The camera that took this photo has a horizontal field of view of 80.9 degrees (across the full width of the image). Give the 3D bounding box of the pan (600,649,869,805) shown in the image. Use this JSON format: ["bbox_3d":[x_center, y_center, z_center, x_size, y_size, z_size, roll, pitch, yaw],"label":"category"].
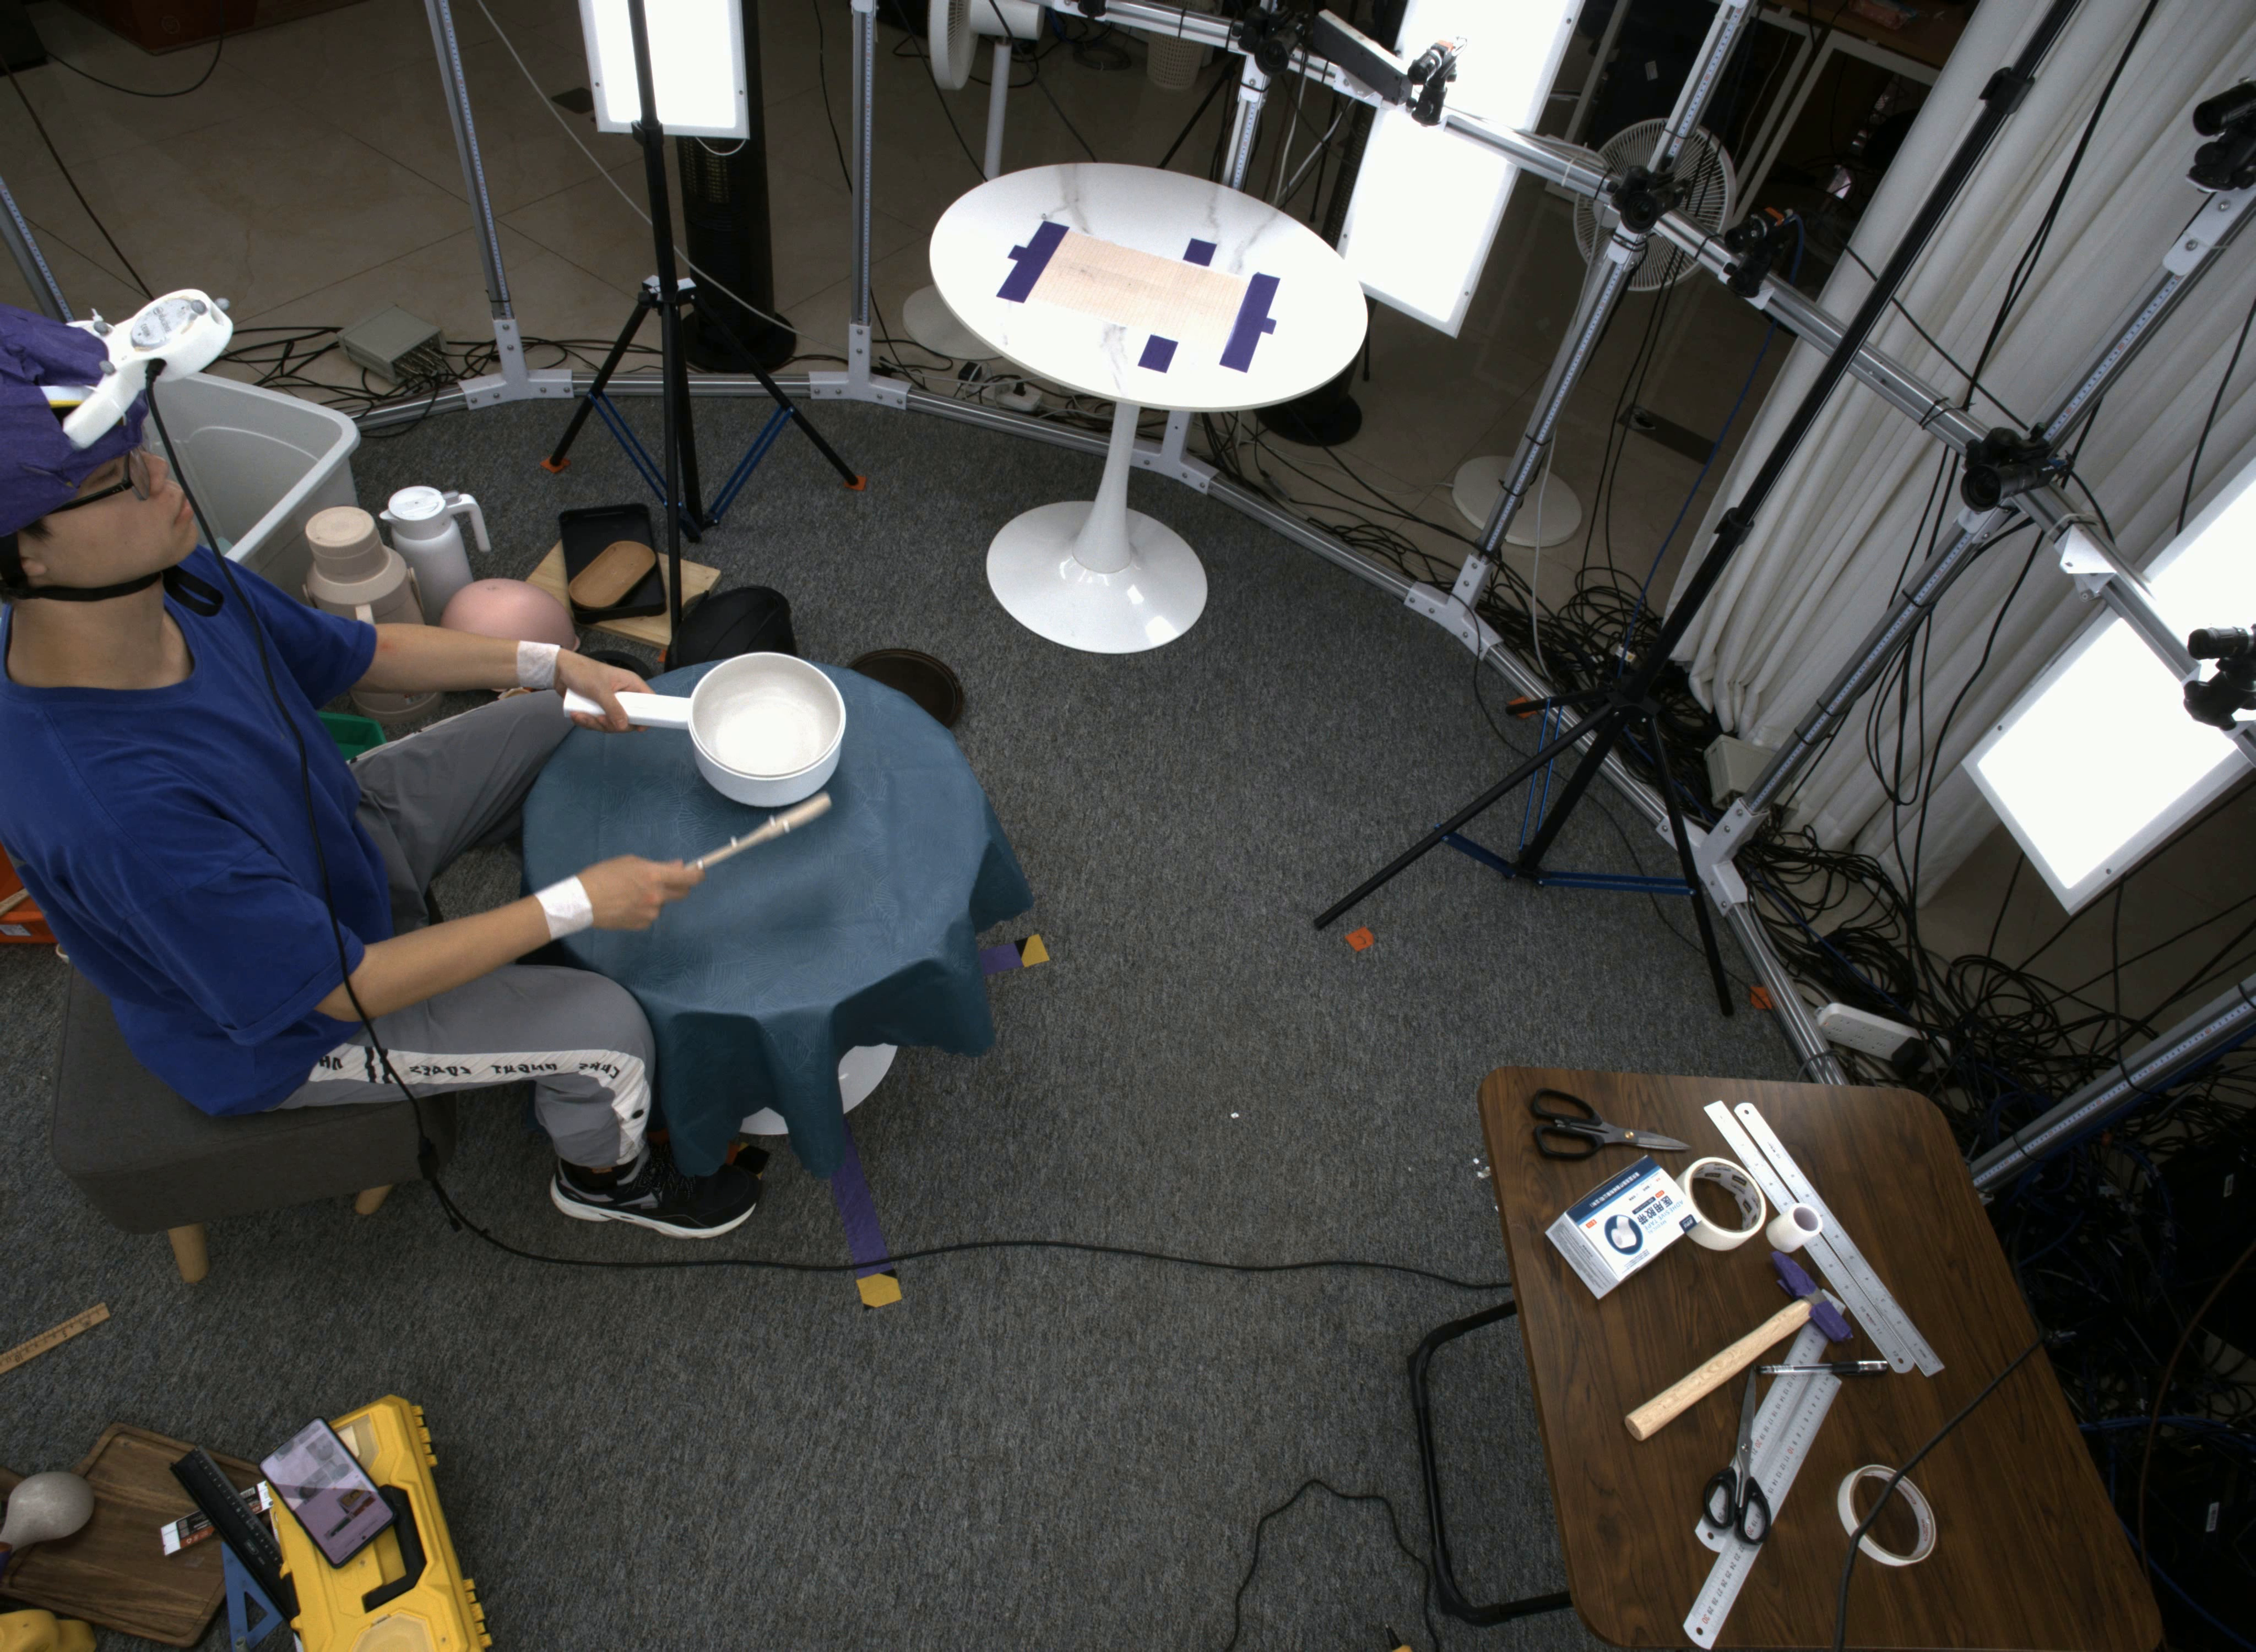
[{"bbox_3d":[-0.526,-0.135,1.723,0.356,0.103,0.198,6,60,-14],"label":"pan"}]

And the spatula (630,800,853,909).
[{"bbox_3d":[-0.469,0.034,1.570,0.293,0.070,0.011,-26,105,-15],"label":"spatula"}]
